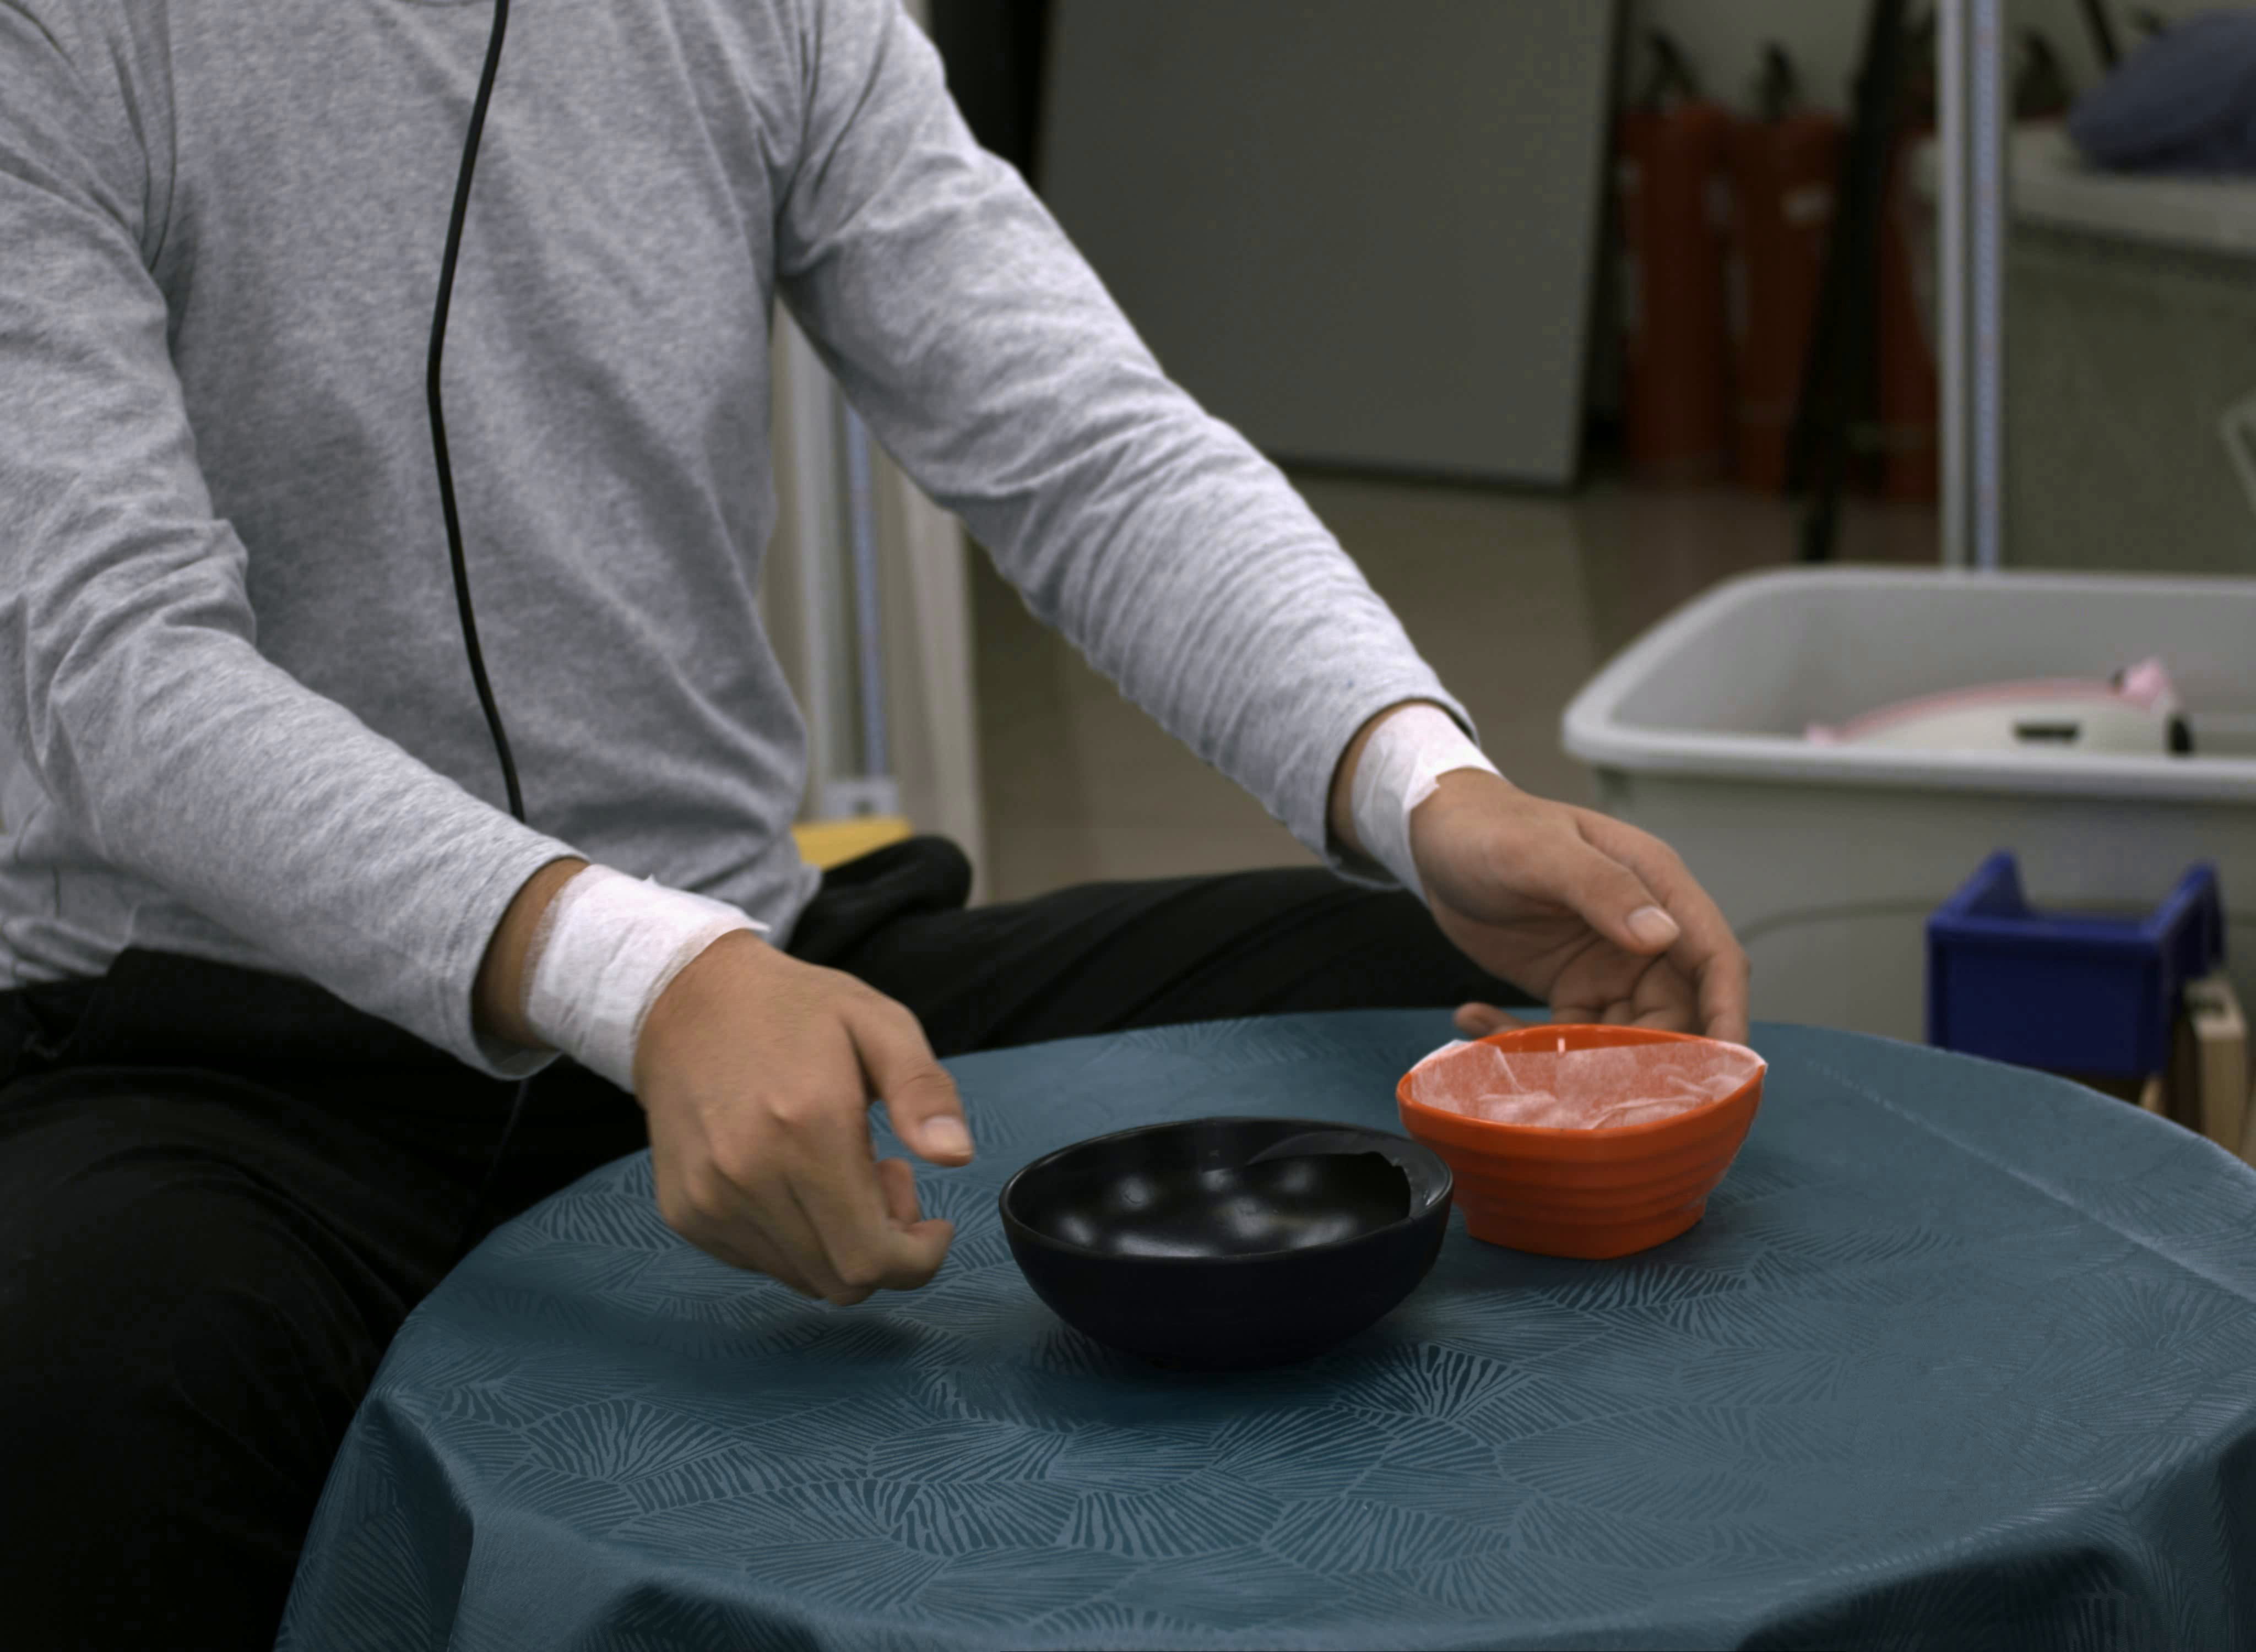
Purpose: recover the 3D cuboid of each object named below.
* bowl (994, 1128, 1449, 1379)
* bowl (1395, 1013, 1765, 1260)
[{"bbox_3d":[0.030,0.132,1.623,0.138,0.050,0.140,-5,11,0],"label":"bowl"},{"bbox_3d":[0.144,0.100,1.704,0.117,0.052,0.119,-4,16,0],"label":"bowl"}]
